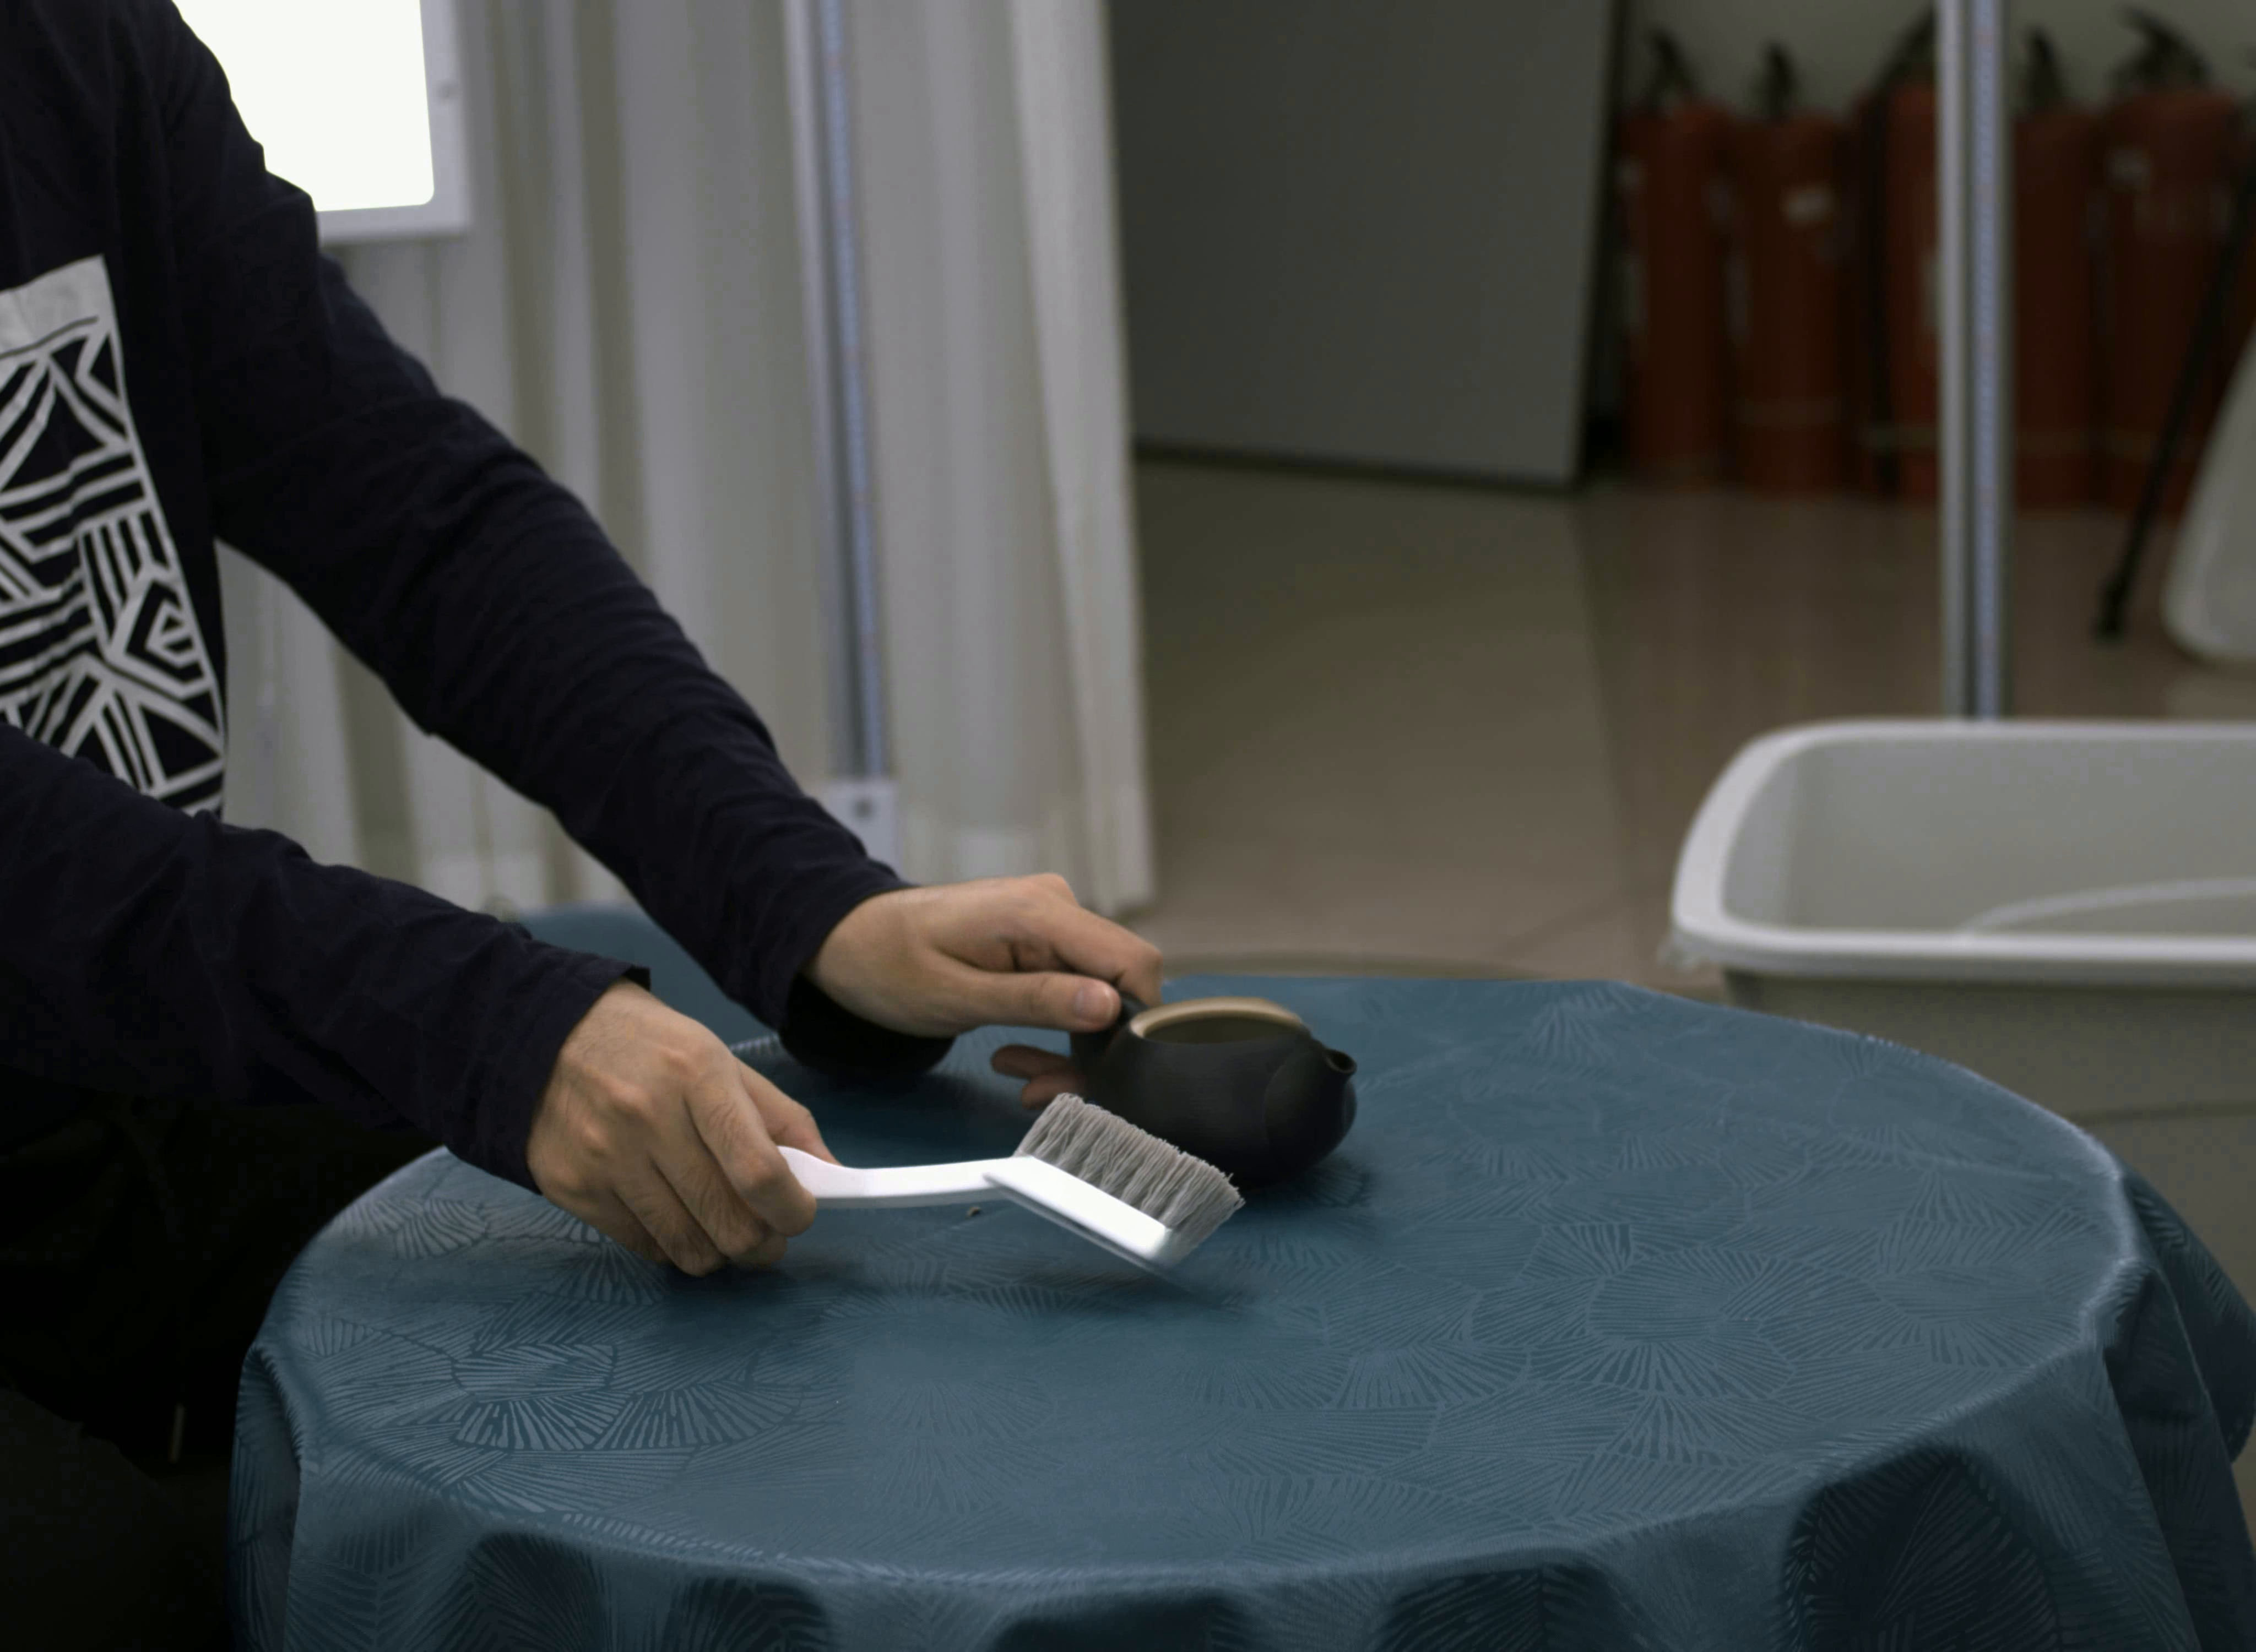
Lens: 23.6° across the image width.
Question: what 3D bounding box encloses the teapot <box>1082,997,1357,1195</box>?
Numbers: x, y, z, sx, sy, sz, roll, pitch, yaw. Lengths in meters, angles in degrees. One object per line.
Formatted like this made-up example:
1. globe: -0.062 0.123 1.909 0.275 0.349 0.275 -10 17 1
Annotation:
1. teapot: 0.030 0.090 1.783 0.089 0.053 0.134 -11 15 -39

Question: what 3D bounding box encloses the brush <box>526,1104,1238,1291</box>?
1. brush: -0.080 0.106 1.713 0.244 0.051 0.034 7 -13 25
